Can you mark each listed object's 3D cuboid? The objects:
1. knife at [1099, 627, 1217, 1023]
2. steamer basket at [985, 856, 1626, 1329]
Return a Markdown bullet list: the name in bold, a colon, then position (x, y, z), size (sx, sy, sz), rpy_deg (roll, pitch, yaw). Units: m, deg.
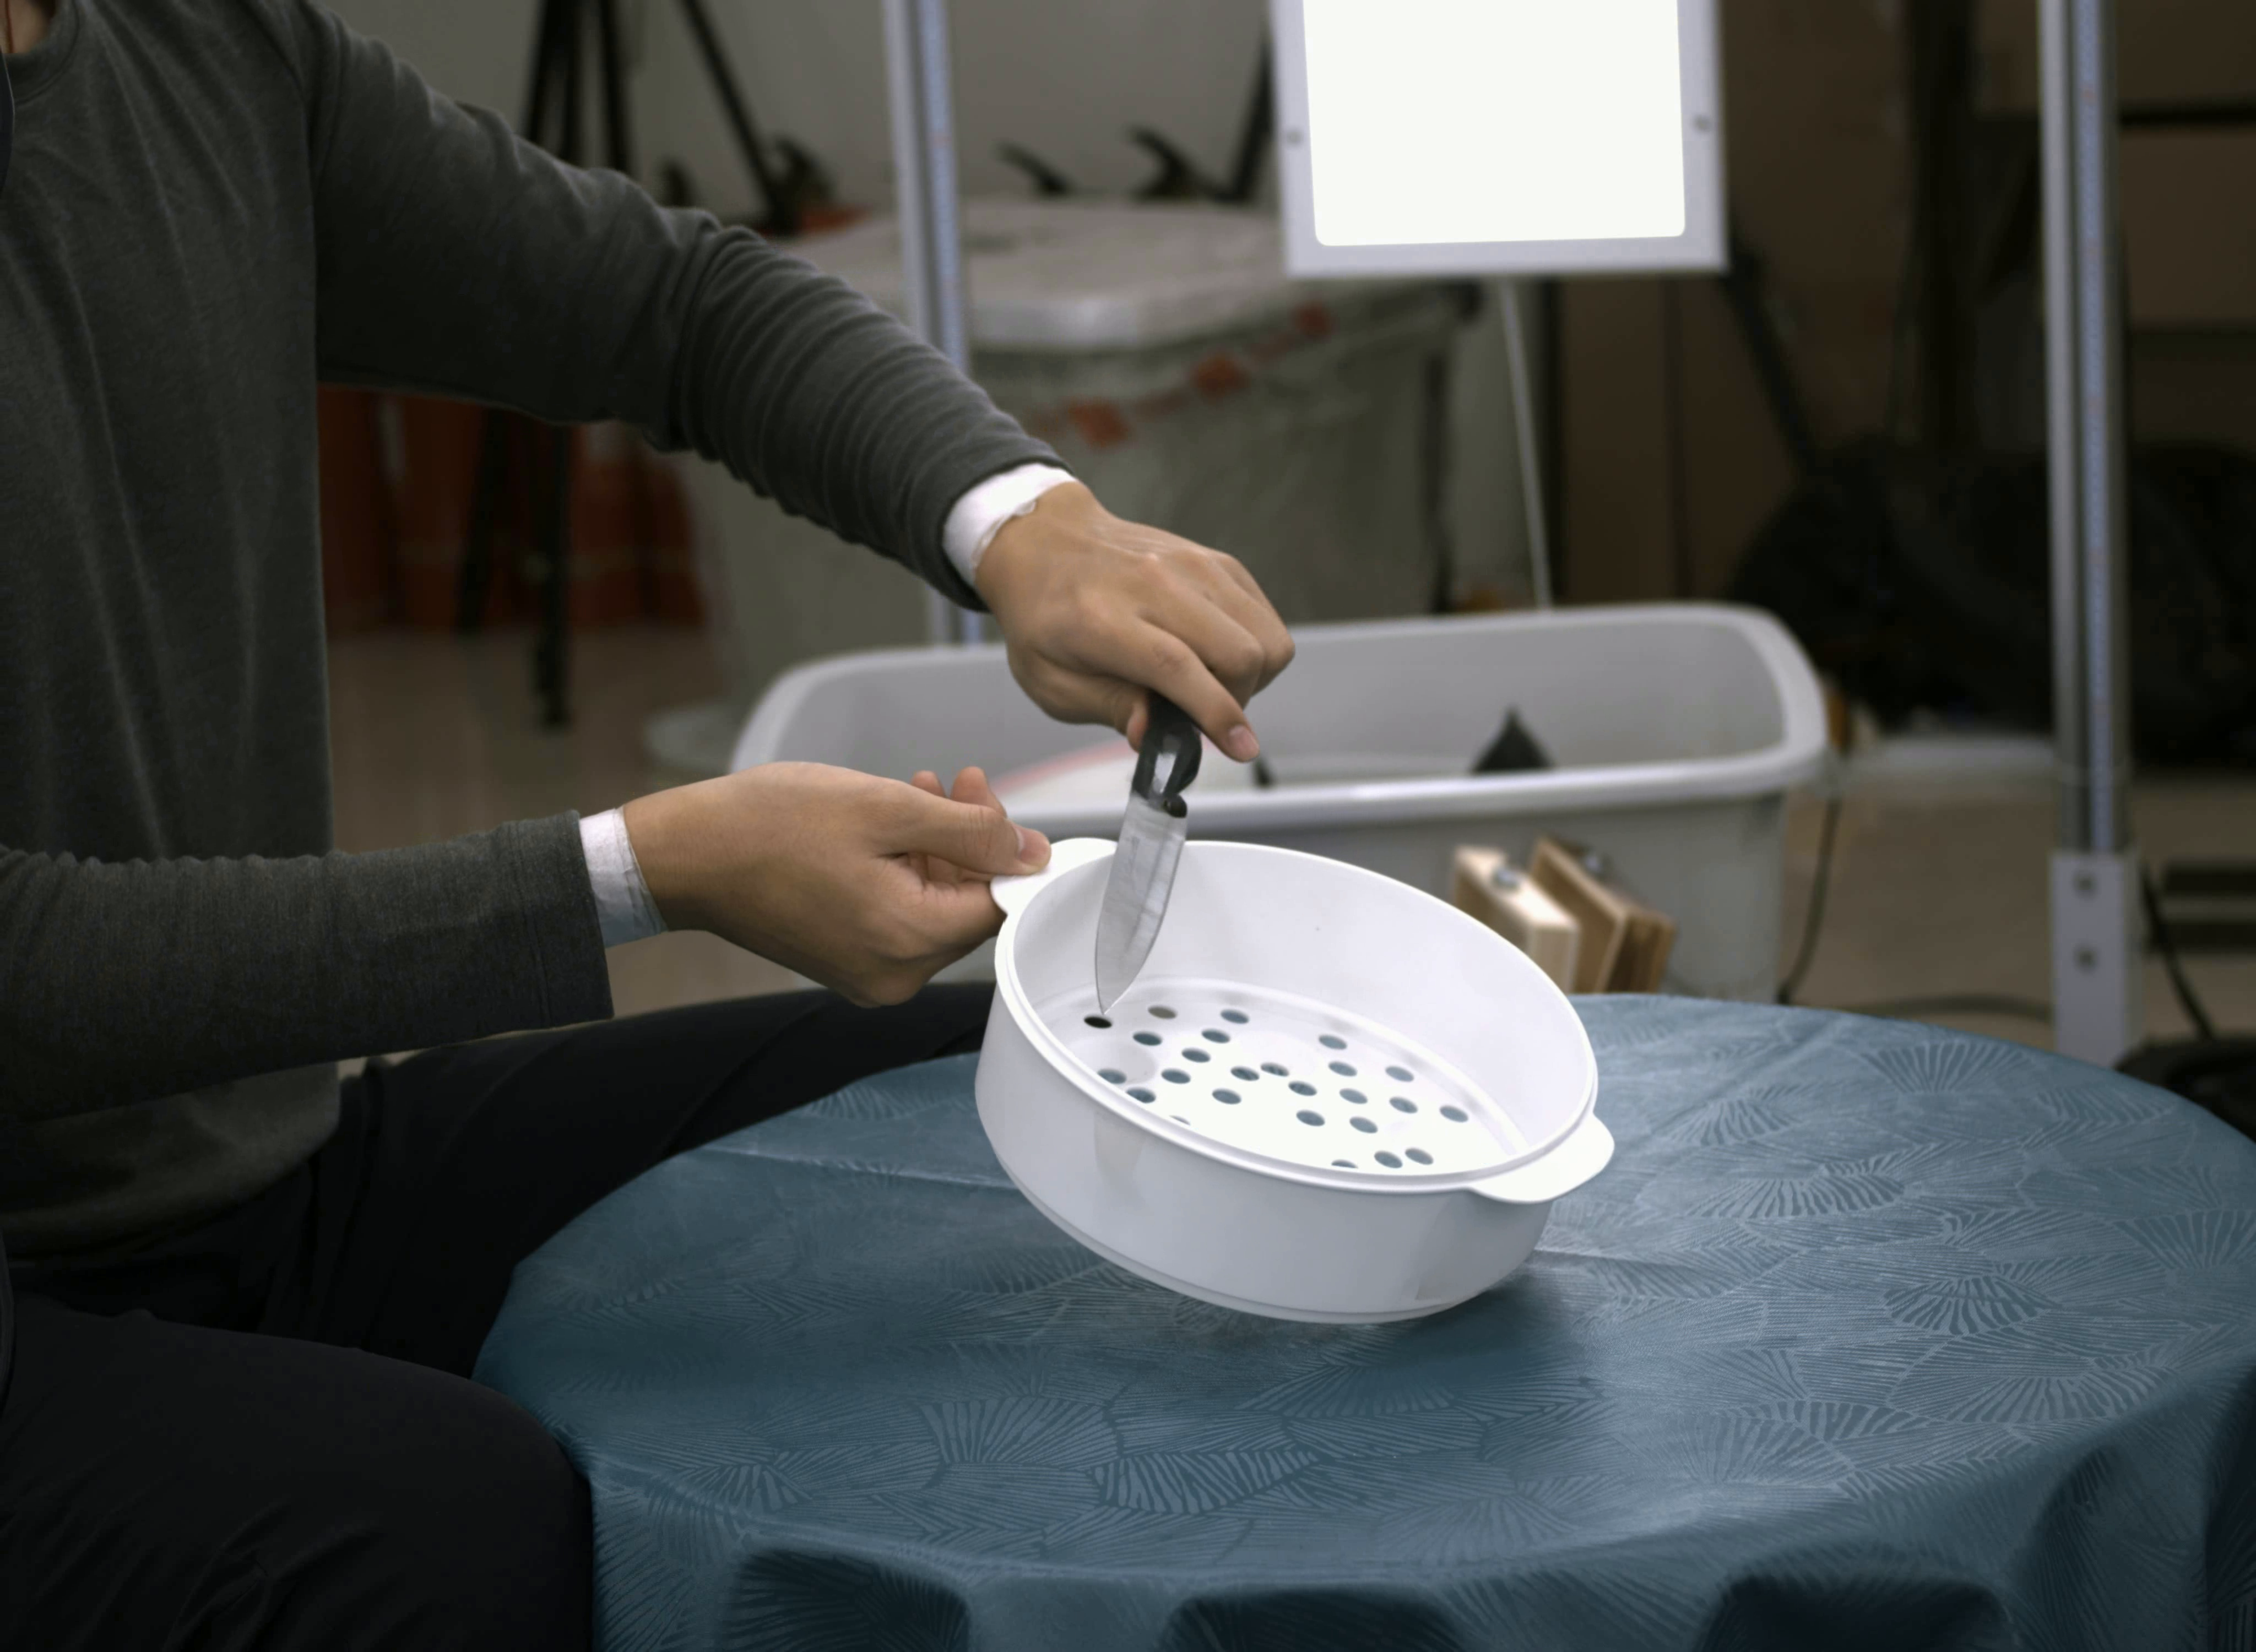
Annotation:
- **knife**: position (0.008, -0.003, 1.855), size (0.024, 0.016, 0.236), rpy_deg (16, 34, -2)
- **steamer basket**: position (0.052, 0.087, 1.792), size (0.234, 0.070, 0.197), rpy_deg (28, 33, 29)
